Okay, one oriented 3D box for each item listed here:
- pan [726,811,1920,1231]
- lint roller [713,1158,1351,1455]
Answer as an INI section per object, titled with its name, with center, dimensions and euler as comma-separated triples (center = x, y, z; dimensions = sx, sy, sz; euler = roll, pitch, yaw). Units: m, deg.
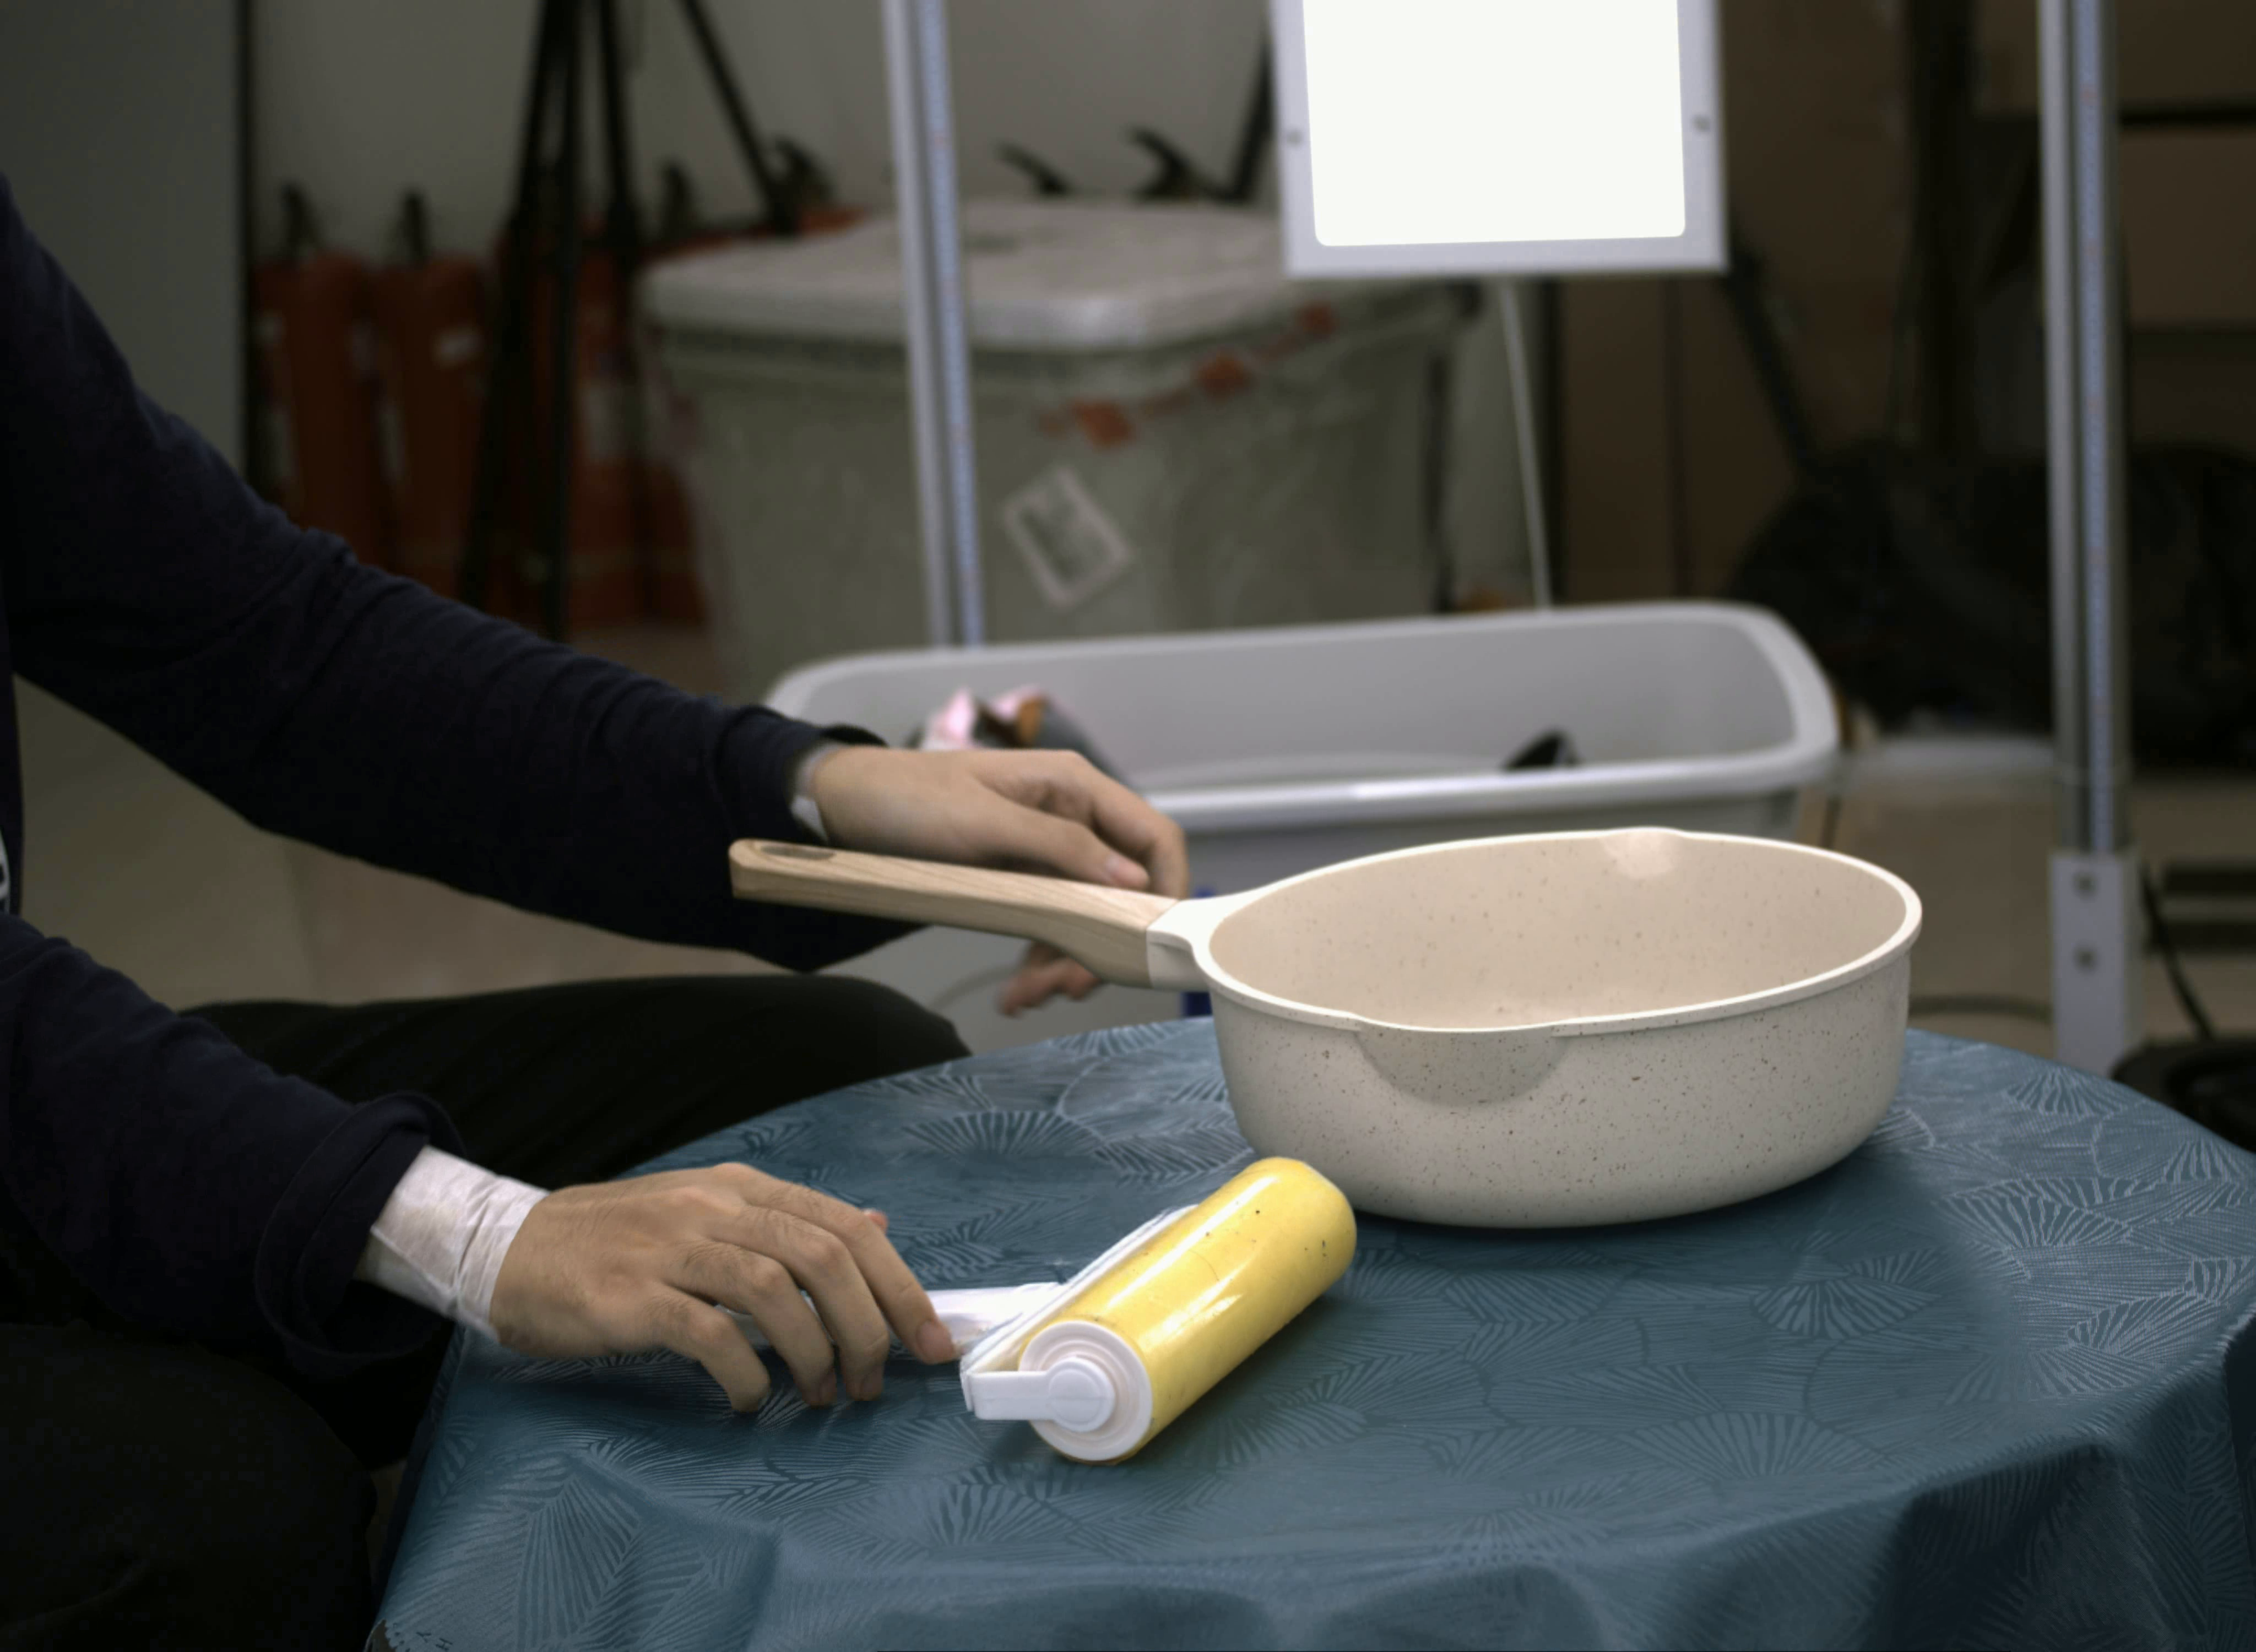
[pan]
center = 0.065, 0.062, 1.936
dimensions = 0.441, 0.102, 0.258
euler = 0, 17, 22
[lint roller]
center = -0.047, 0.148, 1.737
dimensions = 0.195, 0.051, 0.171
euler = 1, 14, 26
